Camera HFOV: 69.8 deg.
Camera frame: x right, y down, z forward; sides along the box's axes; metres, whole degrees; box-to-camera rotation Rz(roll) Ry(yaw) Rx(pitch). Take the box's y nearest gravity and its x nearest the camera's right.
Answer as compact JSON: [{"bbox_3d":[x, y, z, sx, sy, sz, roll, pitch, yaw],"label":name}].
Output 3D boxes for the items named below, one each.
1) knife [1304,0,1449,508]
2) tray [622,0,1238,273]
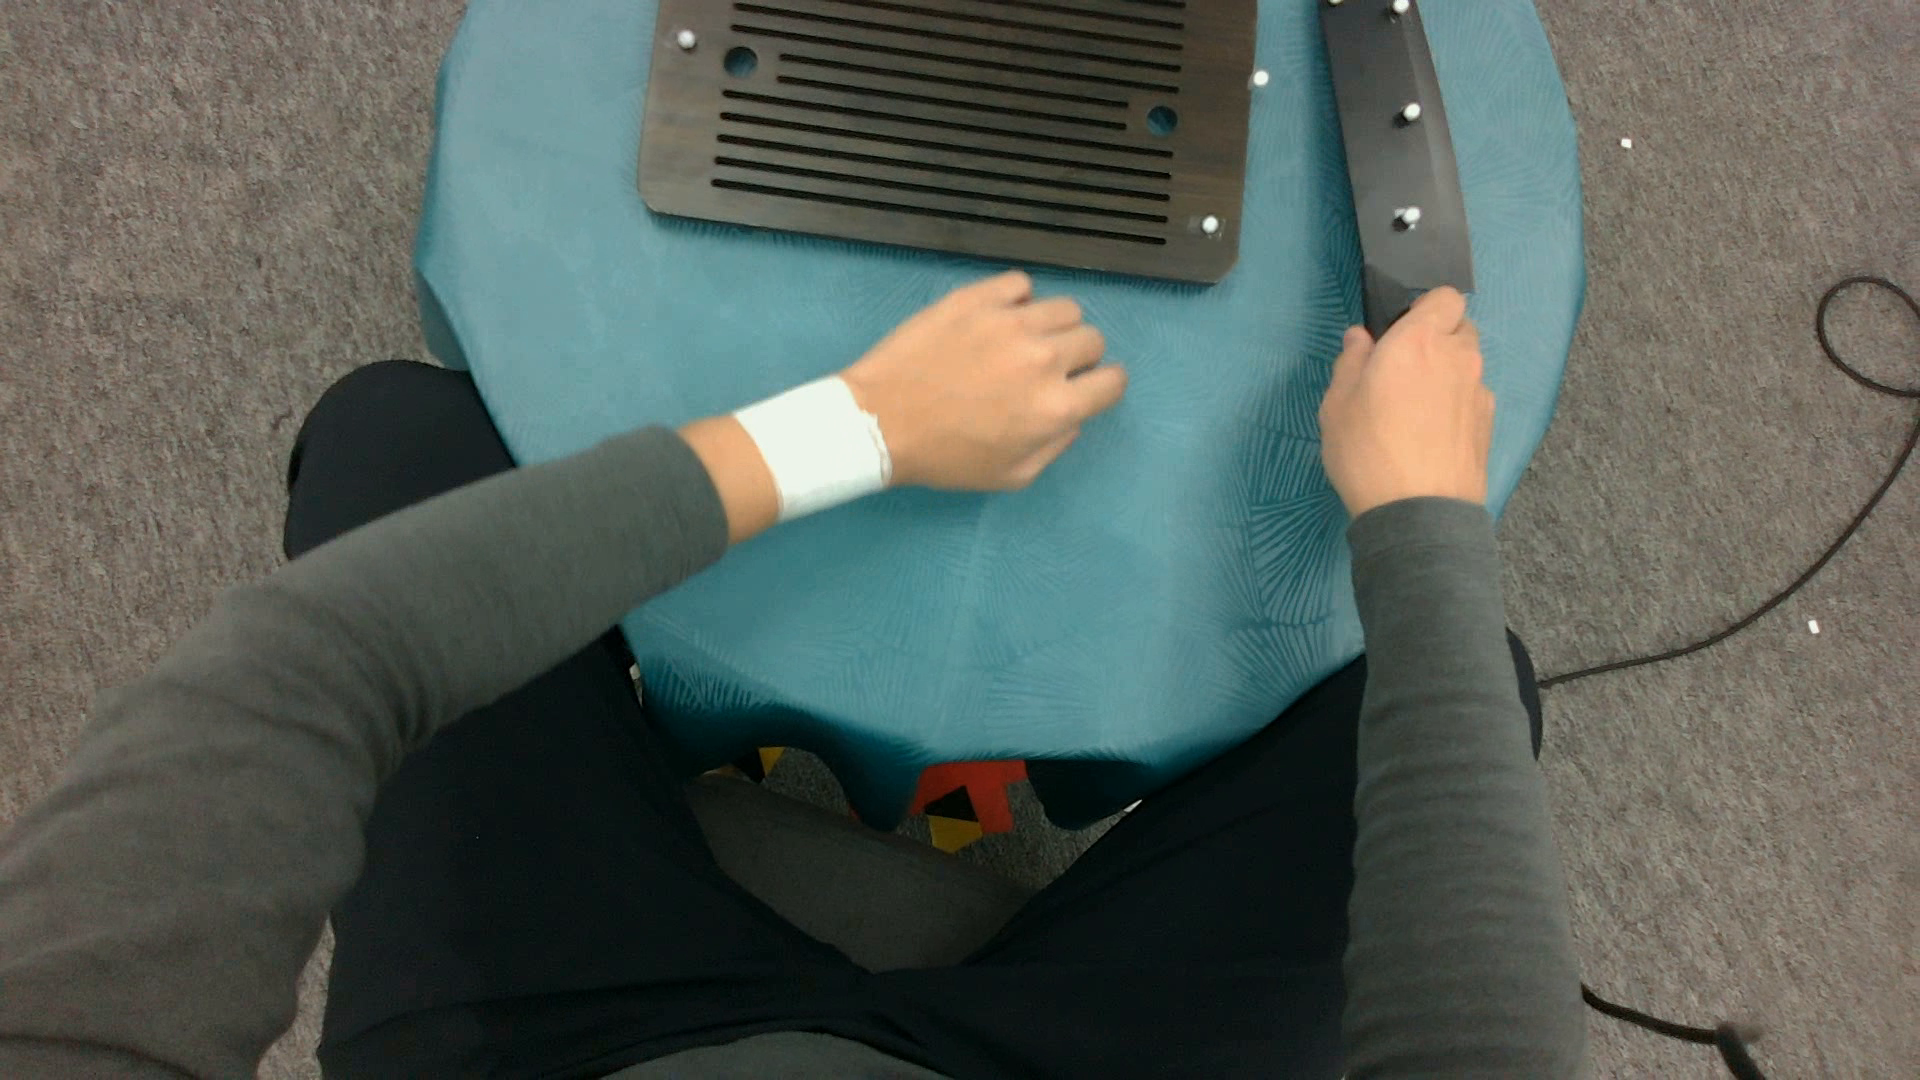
[{"bbox_3d":[0.218,-0.162,0.705,0.081,0.021,0.303,7,72,-20],"label":"knife"},{"bbox_3d":[-0.011,-0.236,0.711,0.306,0.018,0.170,6,82,-5],"label":"tray"}]
